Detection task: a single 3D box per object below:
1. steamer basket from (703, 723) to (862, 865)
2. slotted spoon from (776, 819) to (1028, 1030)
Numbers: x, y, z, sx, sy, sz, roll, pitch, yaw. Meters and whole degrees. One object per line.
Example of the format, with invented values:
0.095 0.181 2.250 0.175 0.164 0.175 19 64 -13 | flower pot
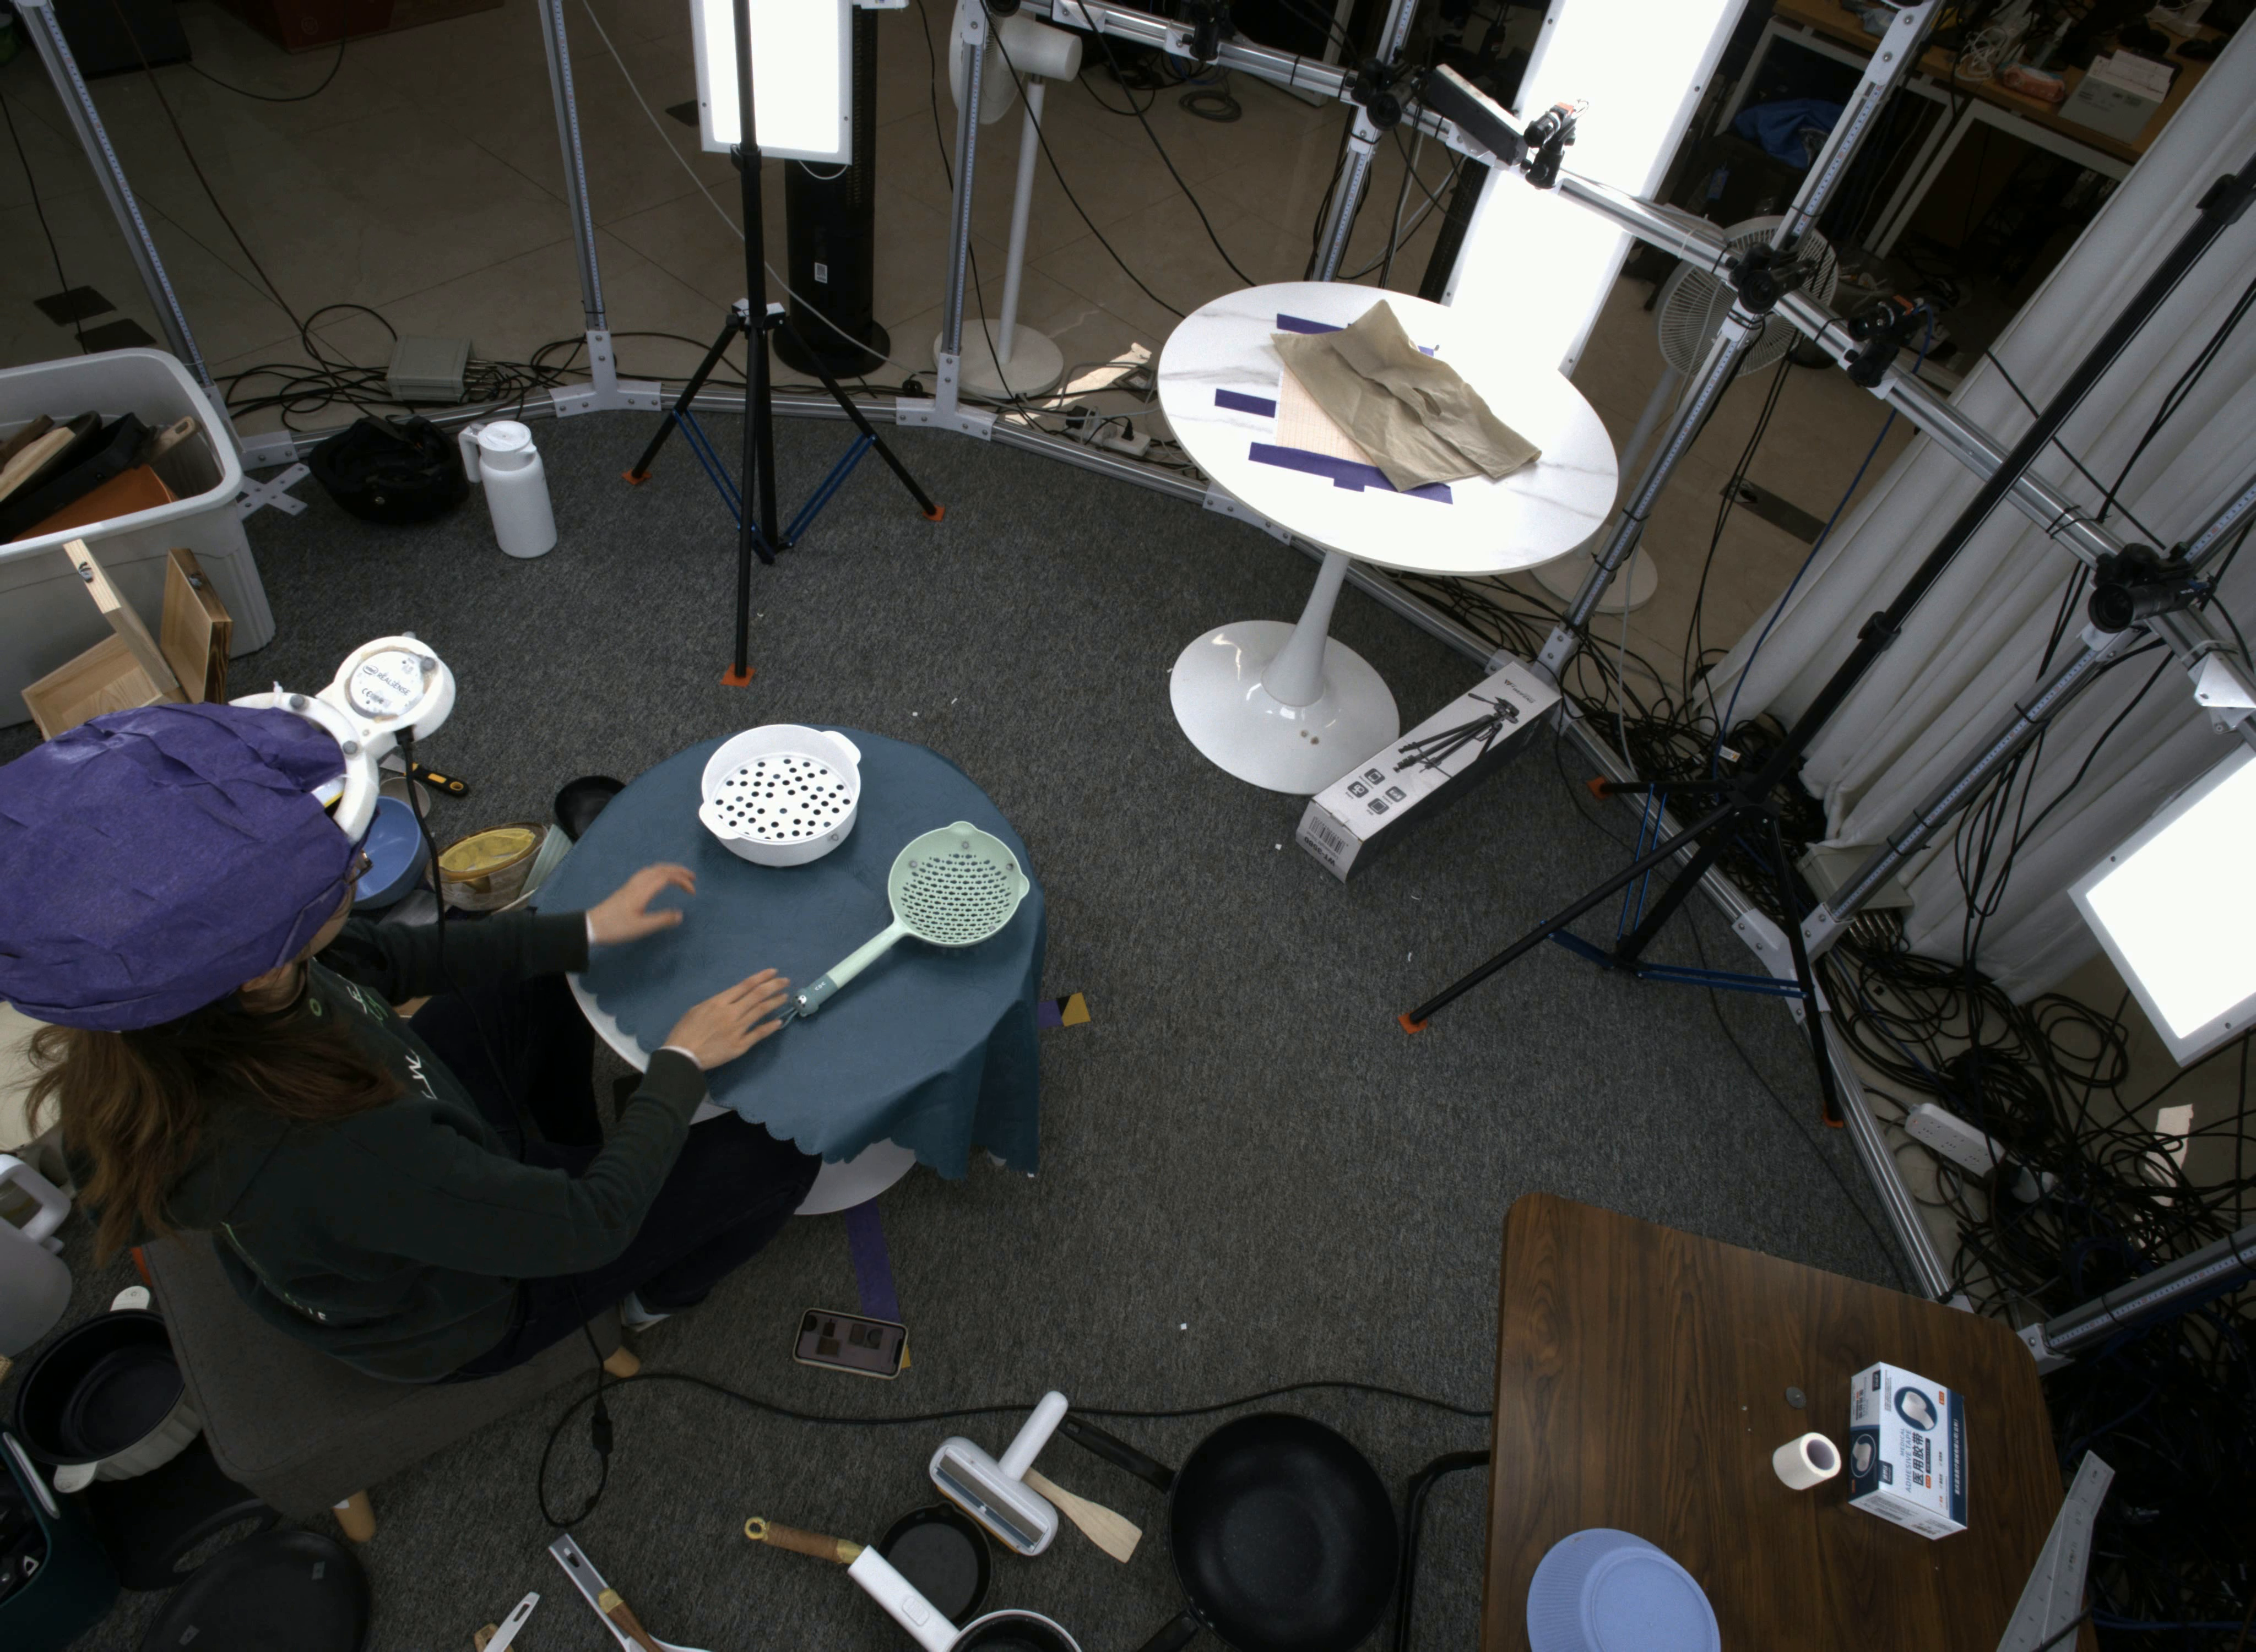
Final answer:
-0.453 -0.041 1.711 0.197 0.071 0.231 39 55 17 | steamer basket
-0.290 0.131 1.624 0.165 0.077 0.360 43 55 18 | slotted spoon
